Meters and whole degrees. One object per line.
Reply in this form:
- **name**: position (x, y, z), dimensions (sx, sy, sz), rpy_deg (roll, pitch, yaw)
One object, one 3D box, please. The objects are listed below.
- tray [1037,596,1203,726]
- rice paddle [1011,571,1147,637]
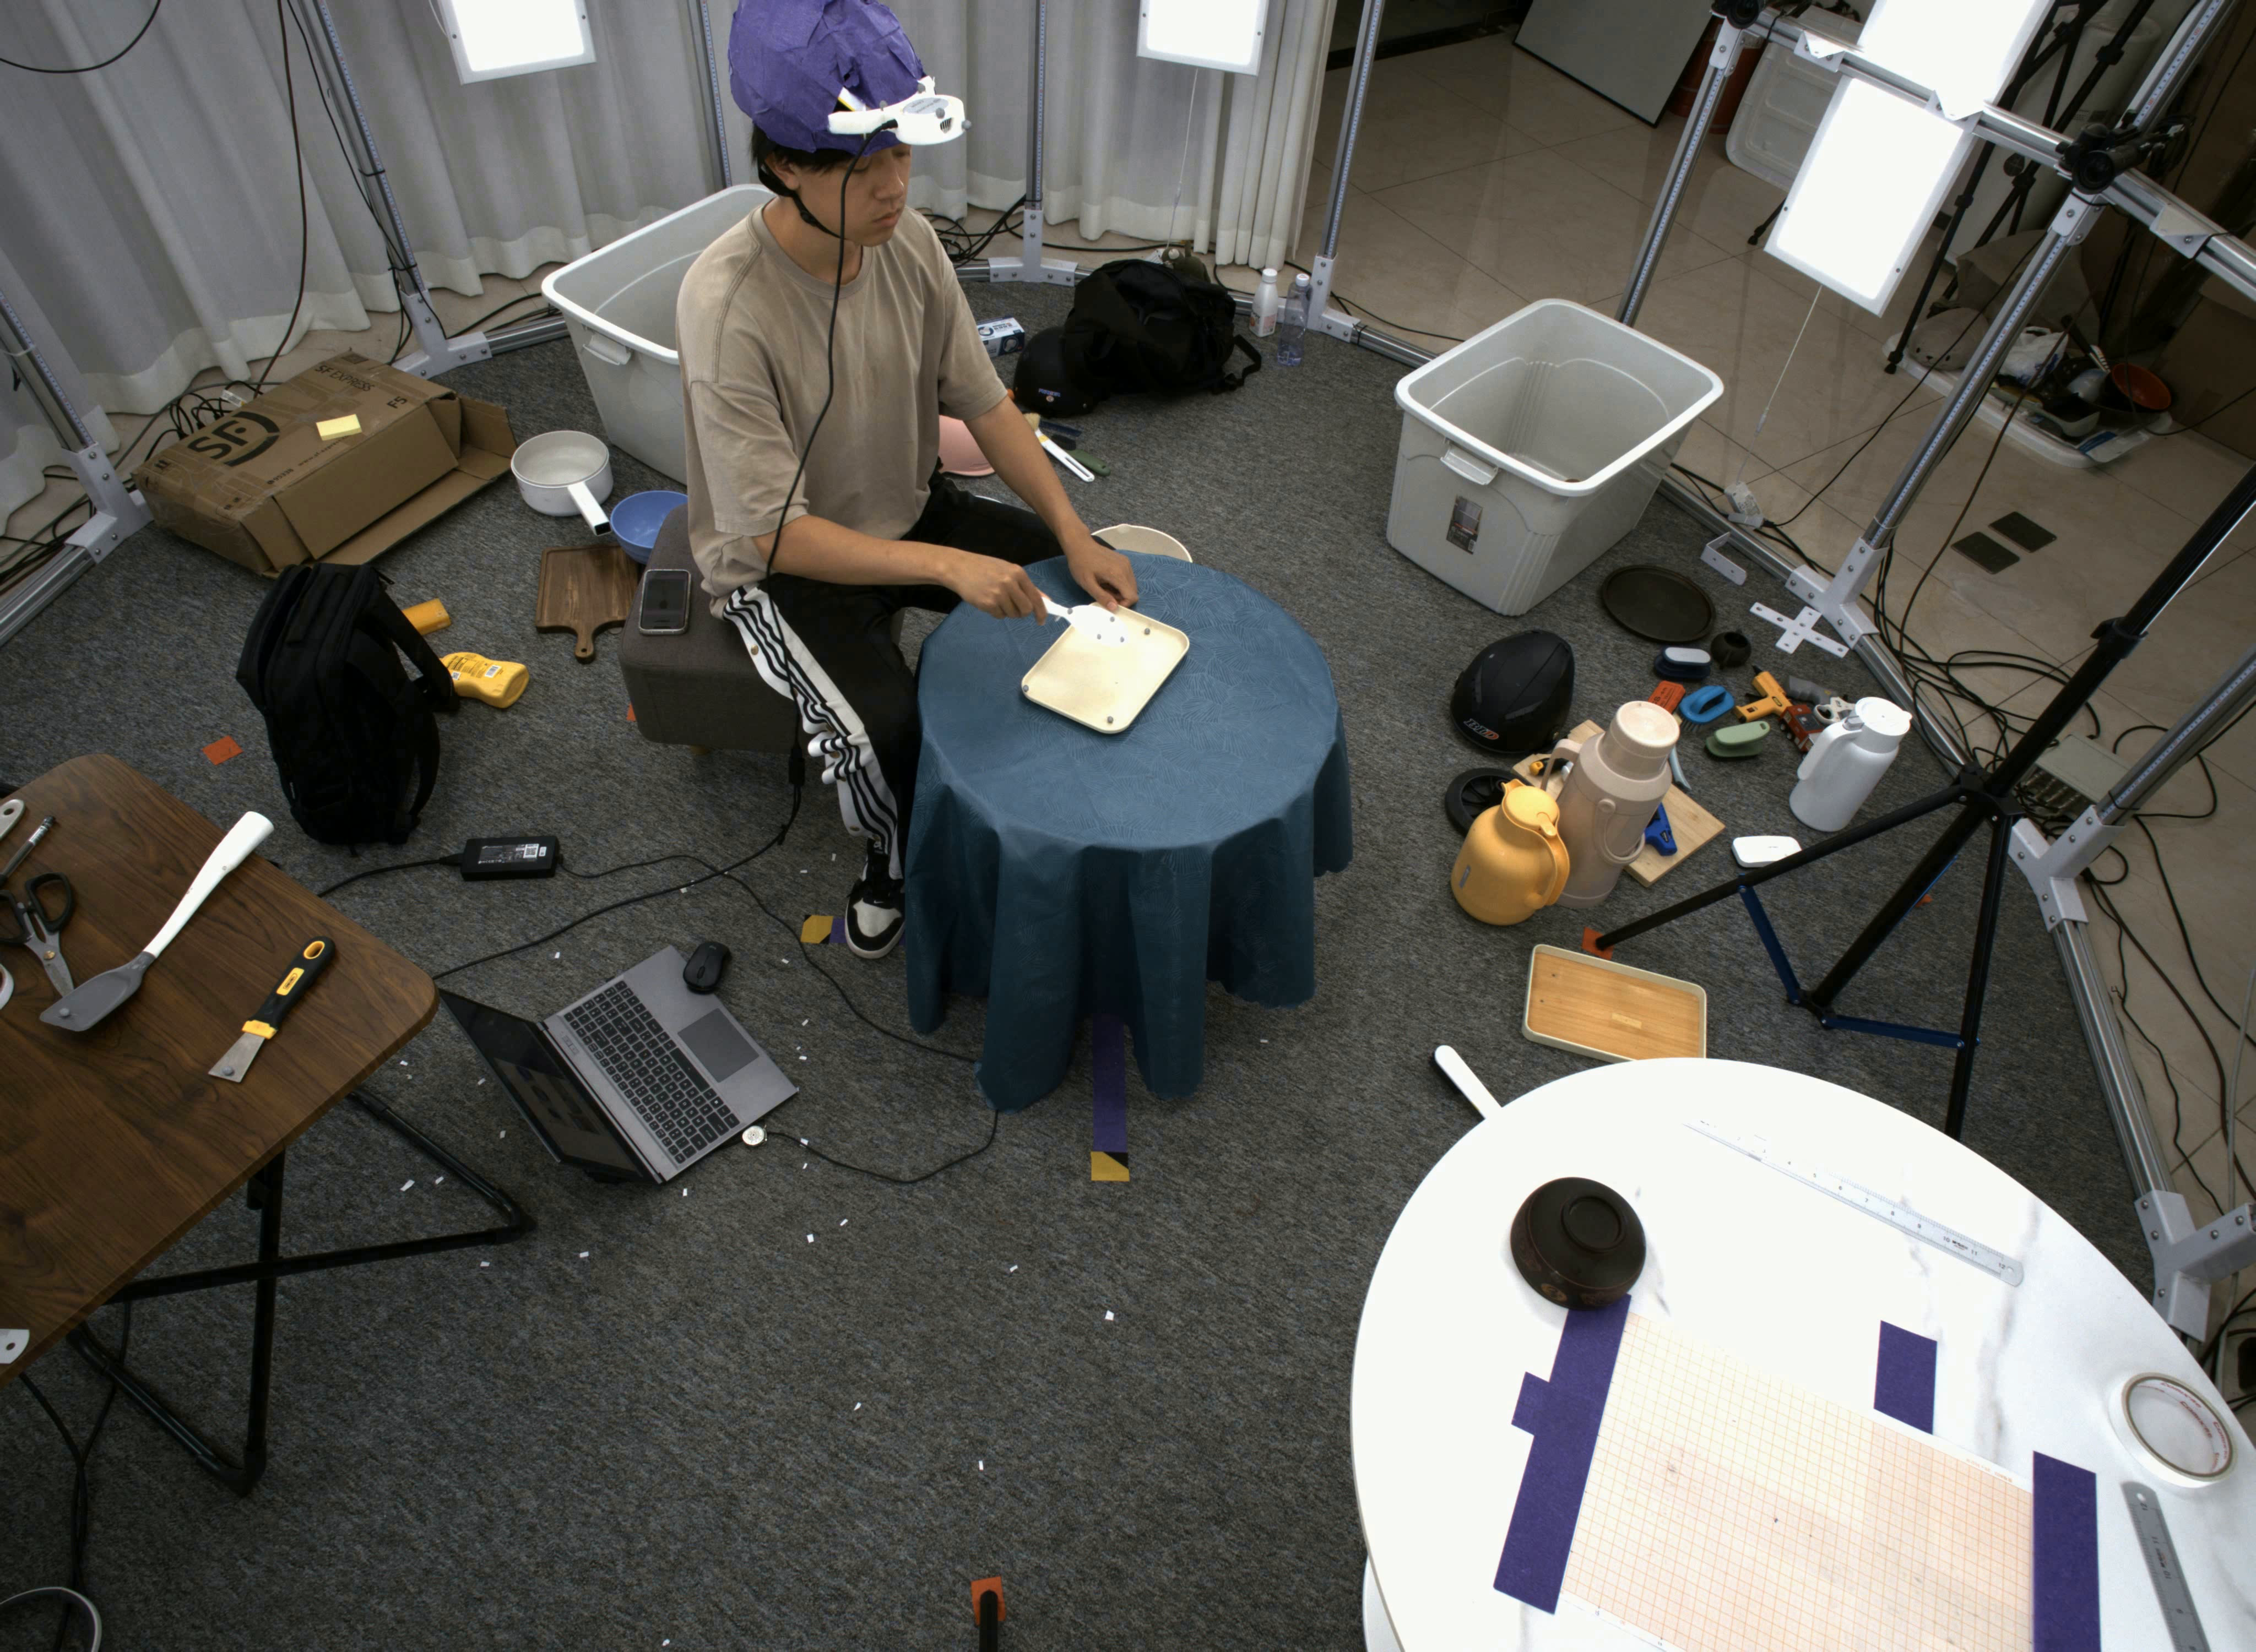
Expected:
- **tray**: position (-0.009, -0.239, 1.849), dimensions (0.172, 0.017, 0.243), rpy_deg (25, 50, 15)
- **rice paddle**: position (-0.061, -0.304, 1.756), dimensions (0.203, 0.029, 0.070), rpy_deg (14, 48, -26)
